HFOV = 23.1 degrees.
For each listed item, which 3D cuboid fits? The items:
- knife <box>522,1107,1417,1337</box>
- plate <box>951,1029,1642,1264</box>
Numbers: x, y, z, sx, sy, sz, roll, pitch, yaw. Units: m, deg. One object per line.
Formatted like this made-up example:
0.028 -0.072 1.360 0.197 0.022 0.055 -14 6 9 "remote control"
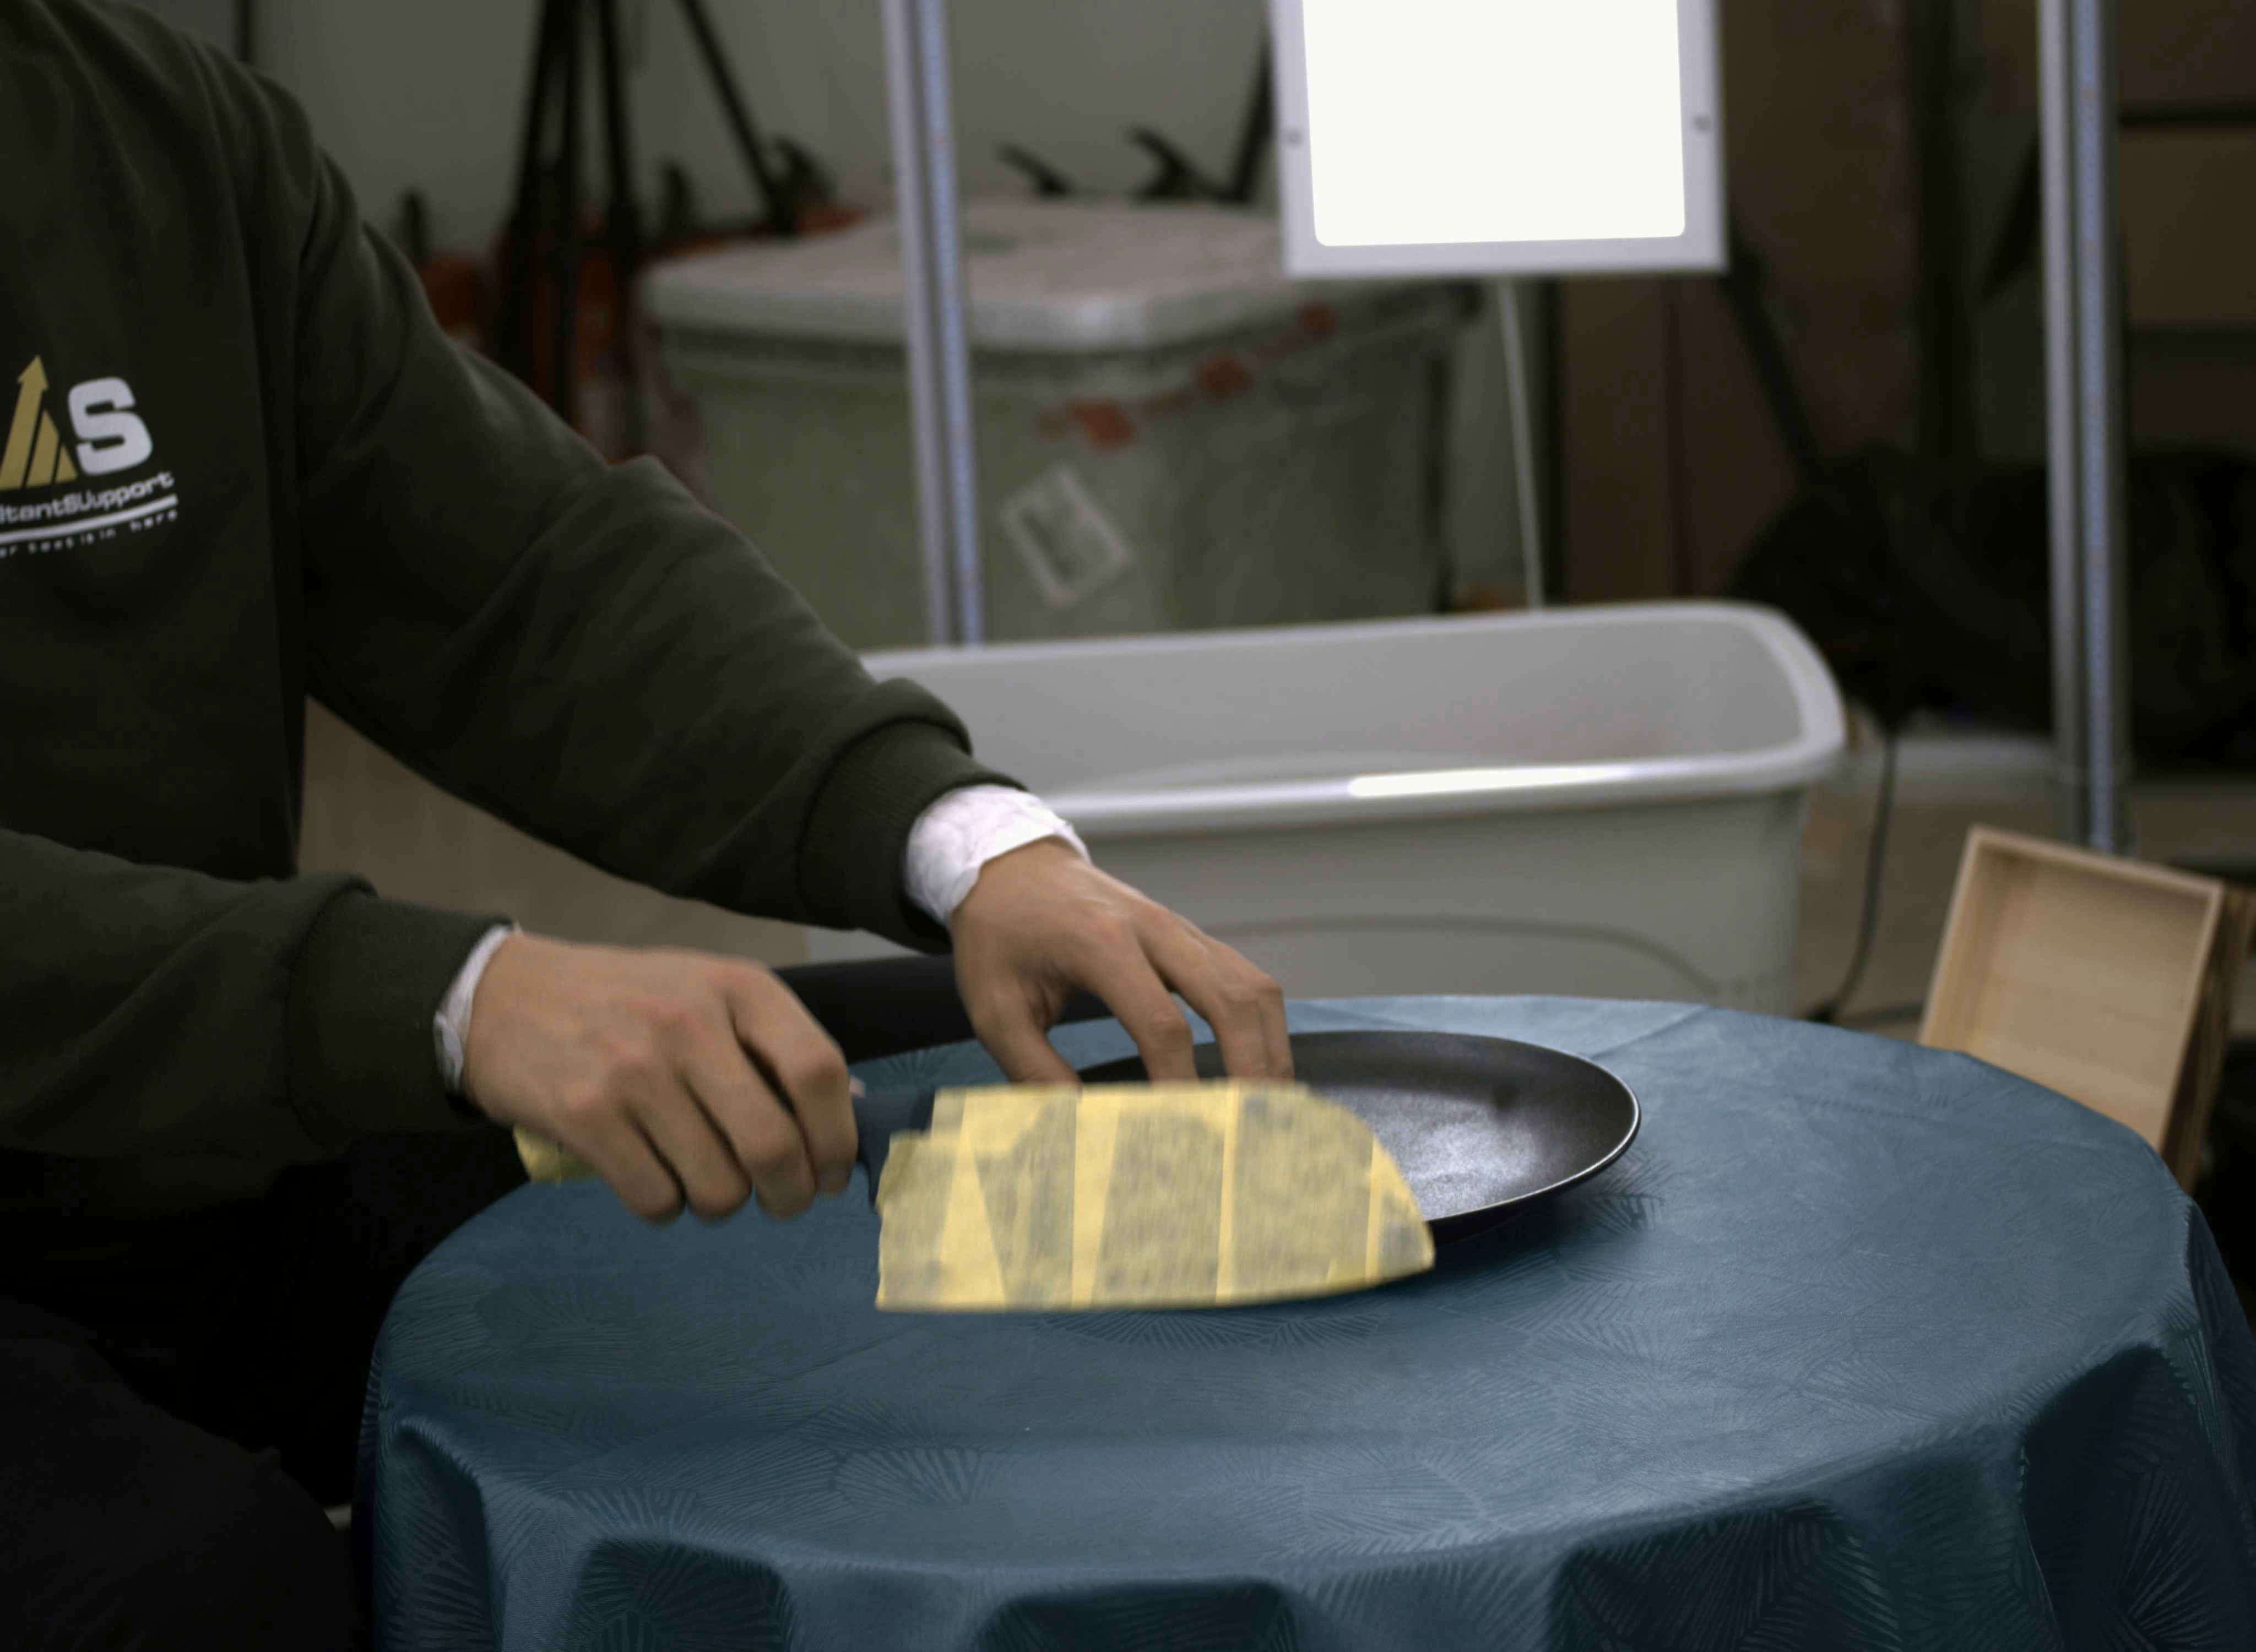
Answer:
-0.052 0.121 1.696 0.292 0.027 0.080 0 59 17 "knife"
0.056 0.114 1.886 0.244 0.023 0.244 -5 13 0 "plate"
